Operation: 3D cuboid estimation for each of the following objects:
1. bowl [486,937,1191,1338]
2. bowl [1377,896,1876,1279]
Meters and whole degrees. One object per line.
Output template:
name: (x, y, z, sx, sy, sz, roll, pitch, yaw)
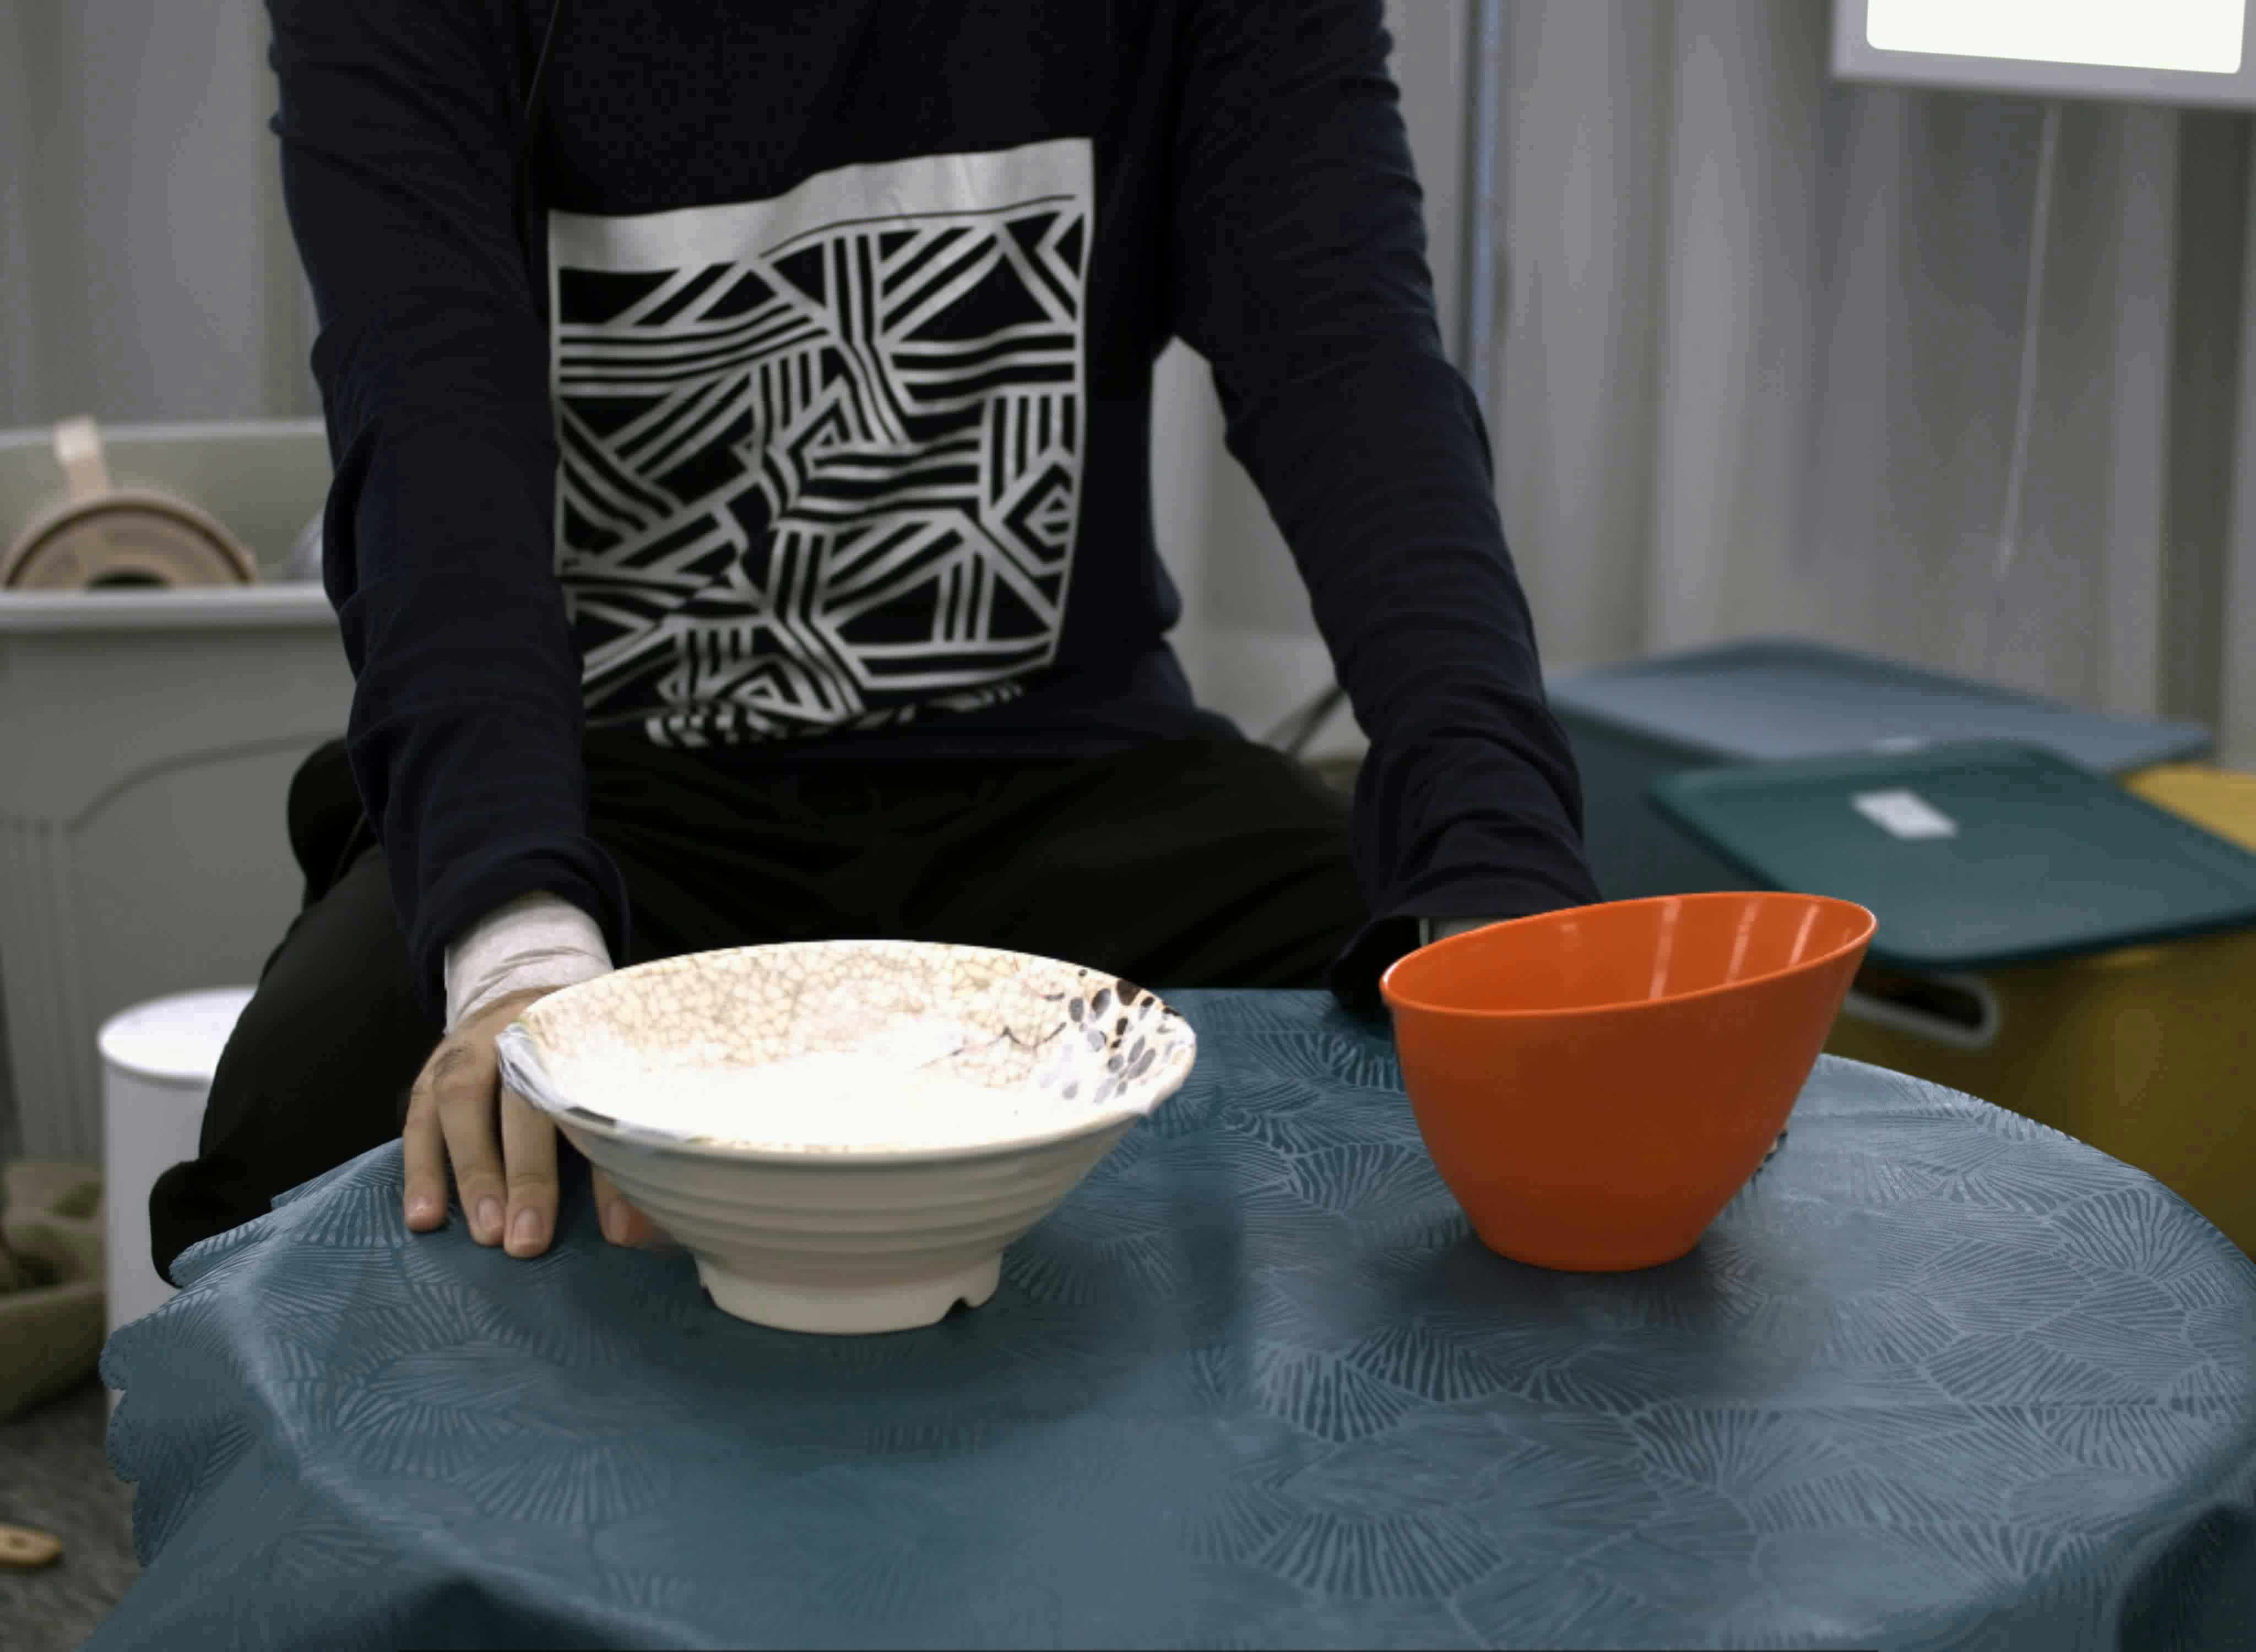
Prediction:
bowl: (-0.084, 0.098, 1.531, 0.203, 0.078, 0.203, 1, 15, 0)
bowl: (0.147, 0.077, 1.569, 0.147, 0.105, 0.147, -1, 15, 1)
